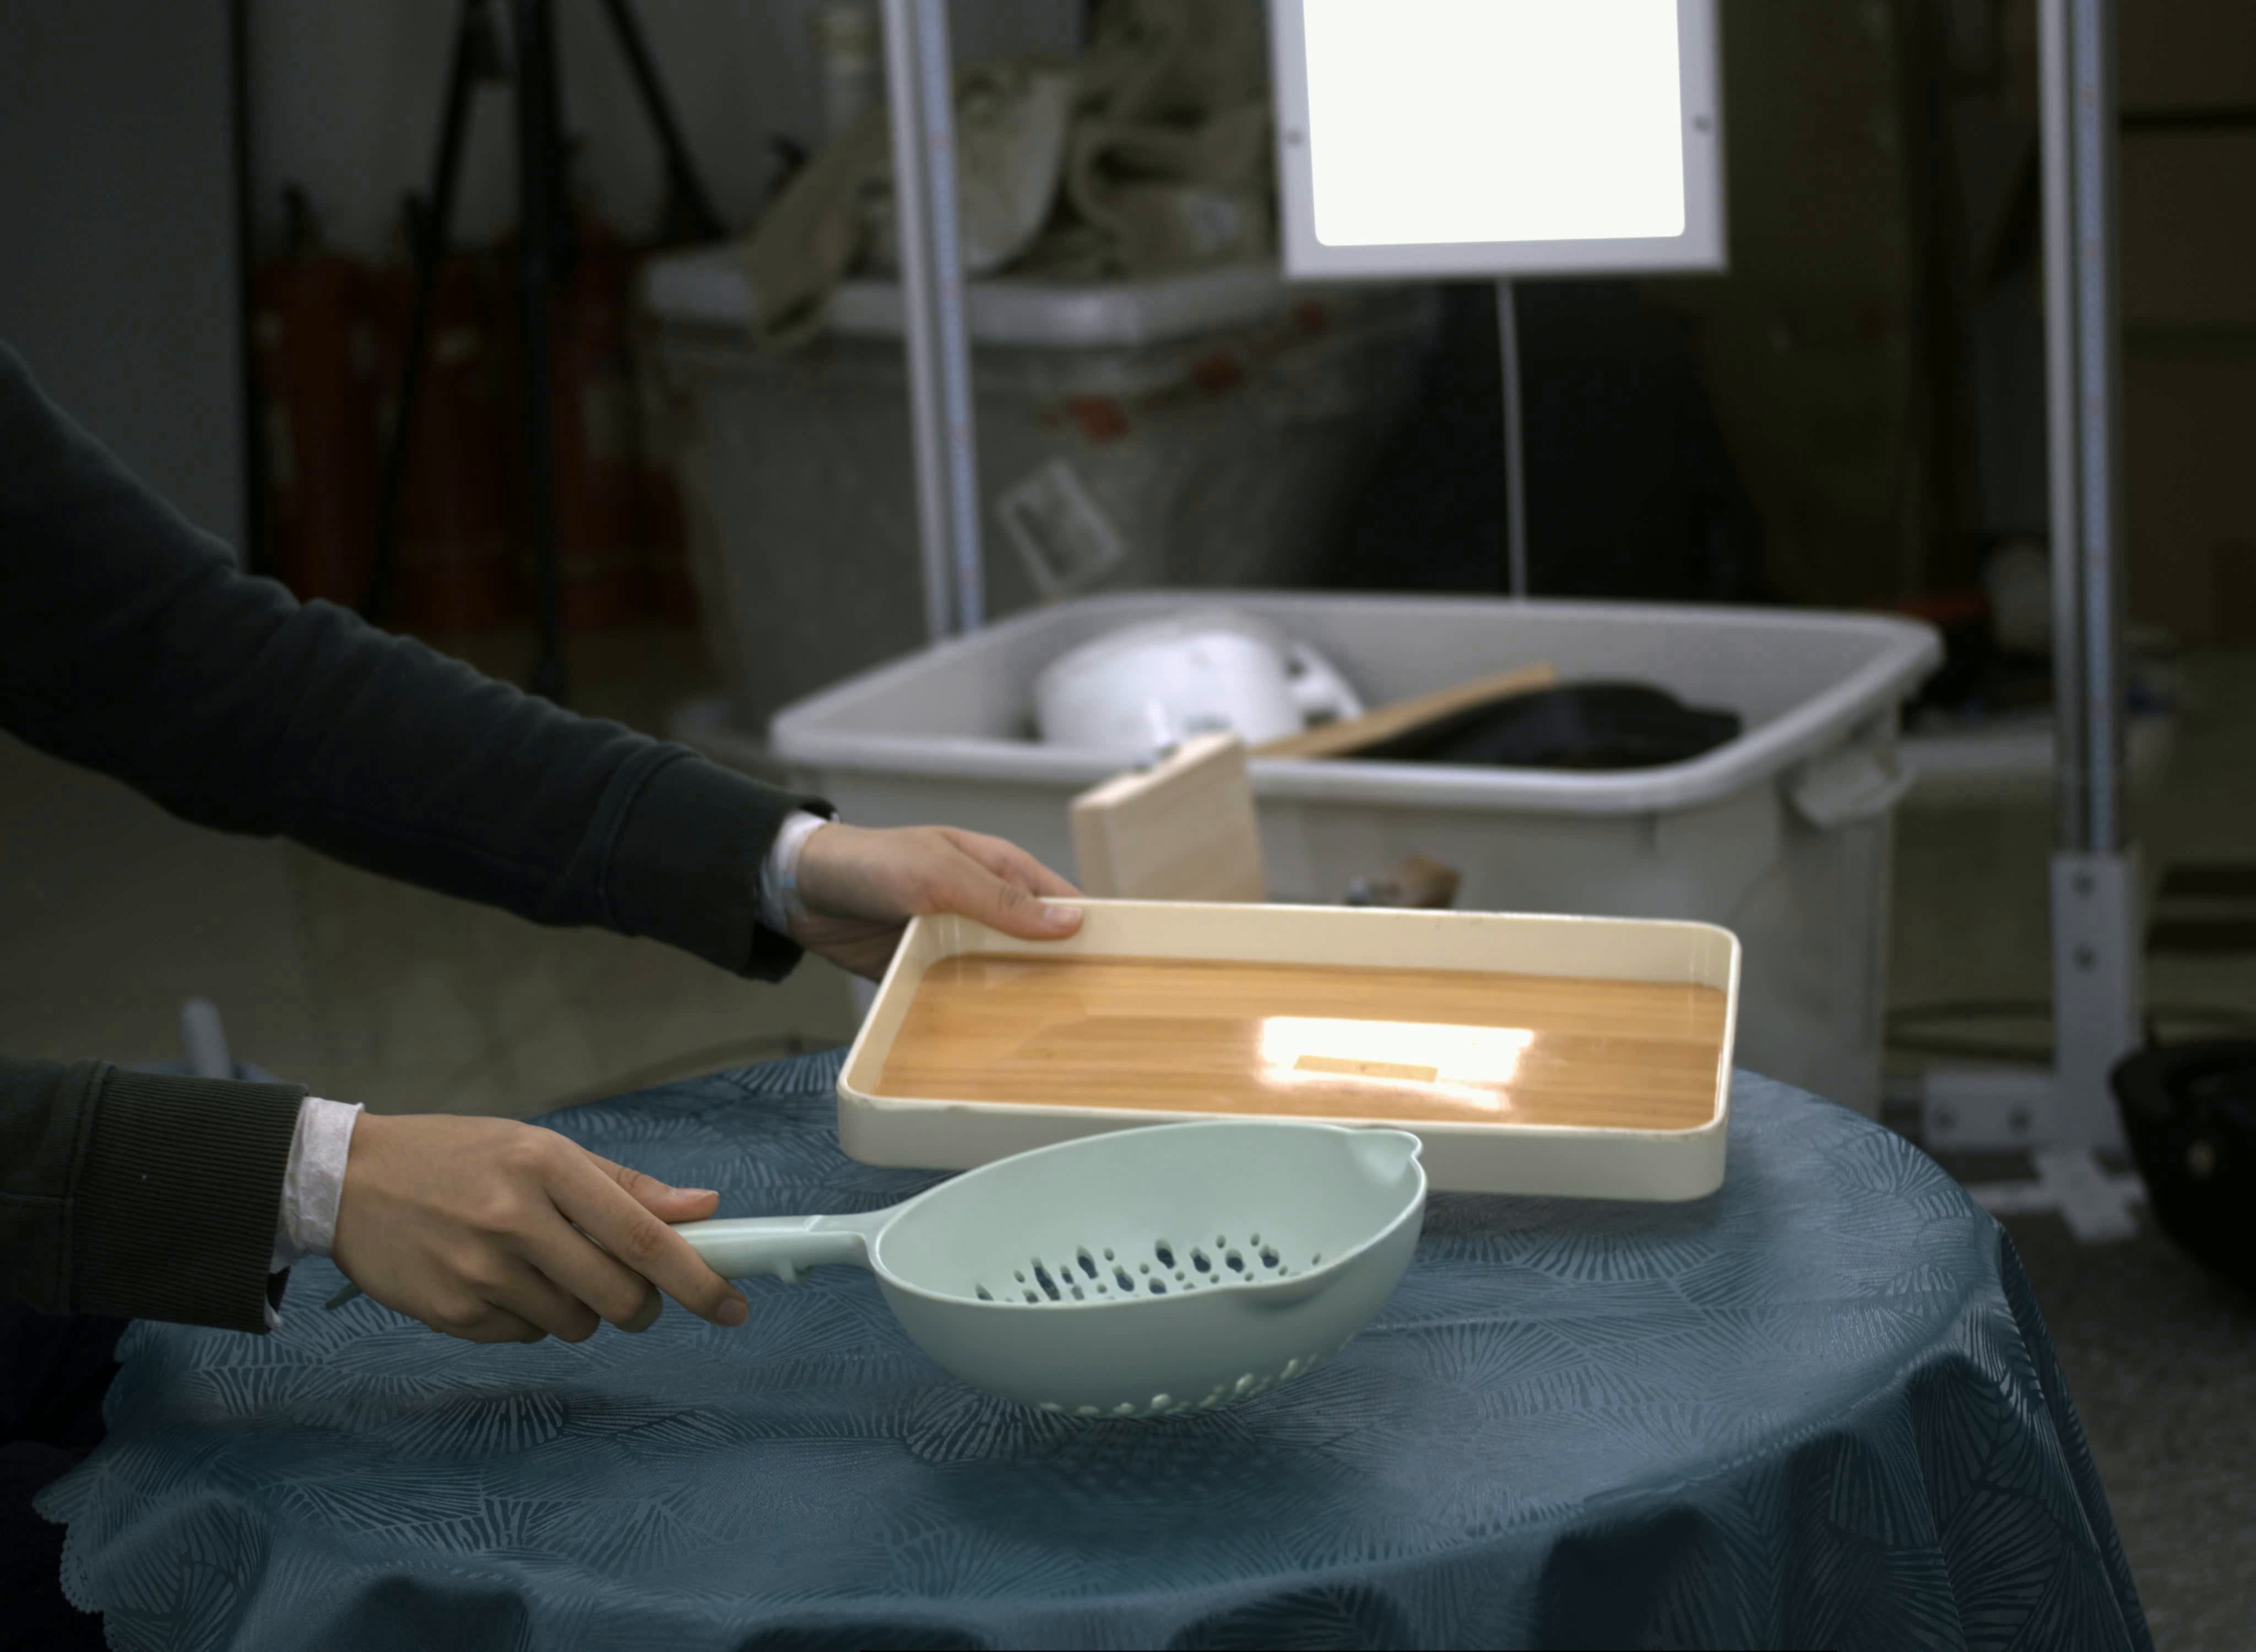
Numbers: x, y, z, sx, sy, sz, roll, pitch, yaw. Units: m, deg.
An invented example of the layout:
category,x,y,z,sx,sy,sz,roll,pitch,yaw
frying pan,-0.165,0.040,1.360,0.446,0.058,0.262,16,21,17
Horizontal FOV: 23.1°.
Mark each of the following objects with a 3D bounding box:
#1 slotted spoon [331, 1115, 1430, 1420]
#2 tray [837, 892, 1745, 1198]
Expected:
category,x,y,z,sx,sy,sz,roll,pitch,yaw
slotted spoon,-0.084,0.132,1.698,0.363,0.076,0.166,5,17,19
tray,0.061,0.074,1.901,0.302,0.027,0.189,2,21,10
